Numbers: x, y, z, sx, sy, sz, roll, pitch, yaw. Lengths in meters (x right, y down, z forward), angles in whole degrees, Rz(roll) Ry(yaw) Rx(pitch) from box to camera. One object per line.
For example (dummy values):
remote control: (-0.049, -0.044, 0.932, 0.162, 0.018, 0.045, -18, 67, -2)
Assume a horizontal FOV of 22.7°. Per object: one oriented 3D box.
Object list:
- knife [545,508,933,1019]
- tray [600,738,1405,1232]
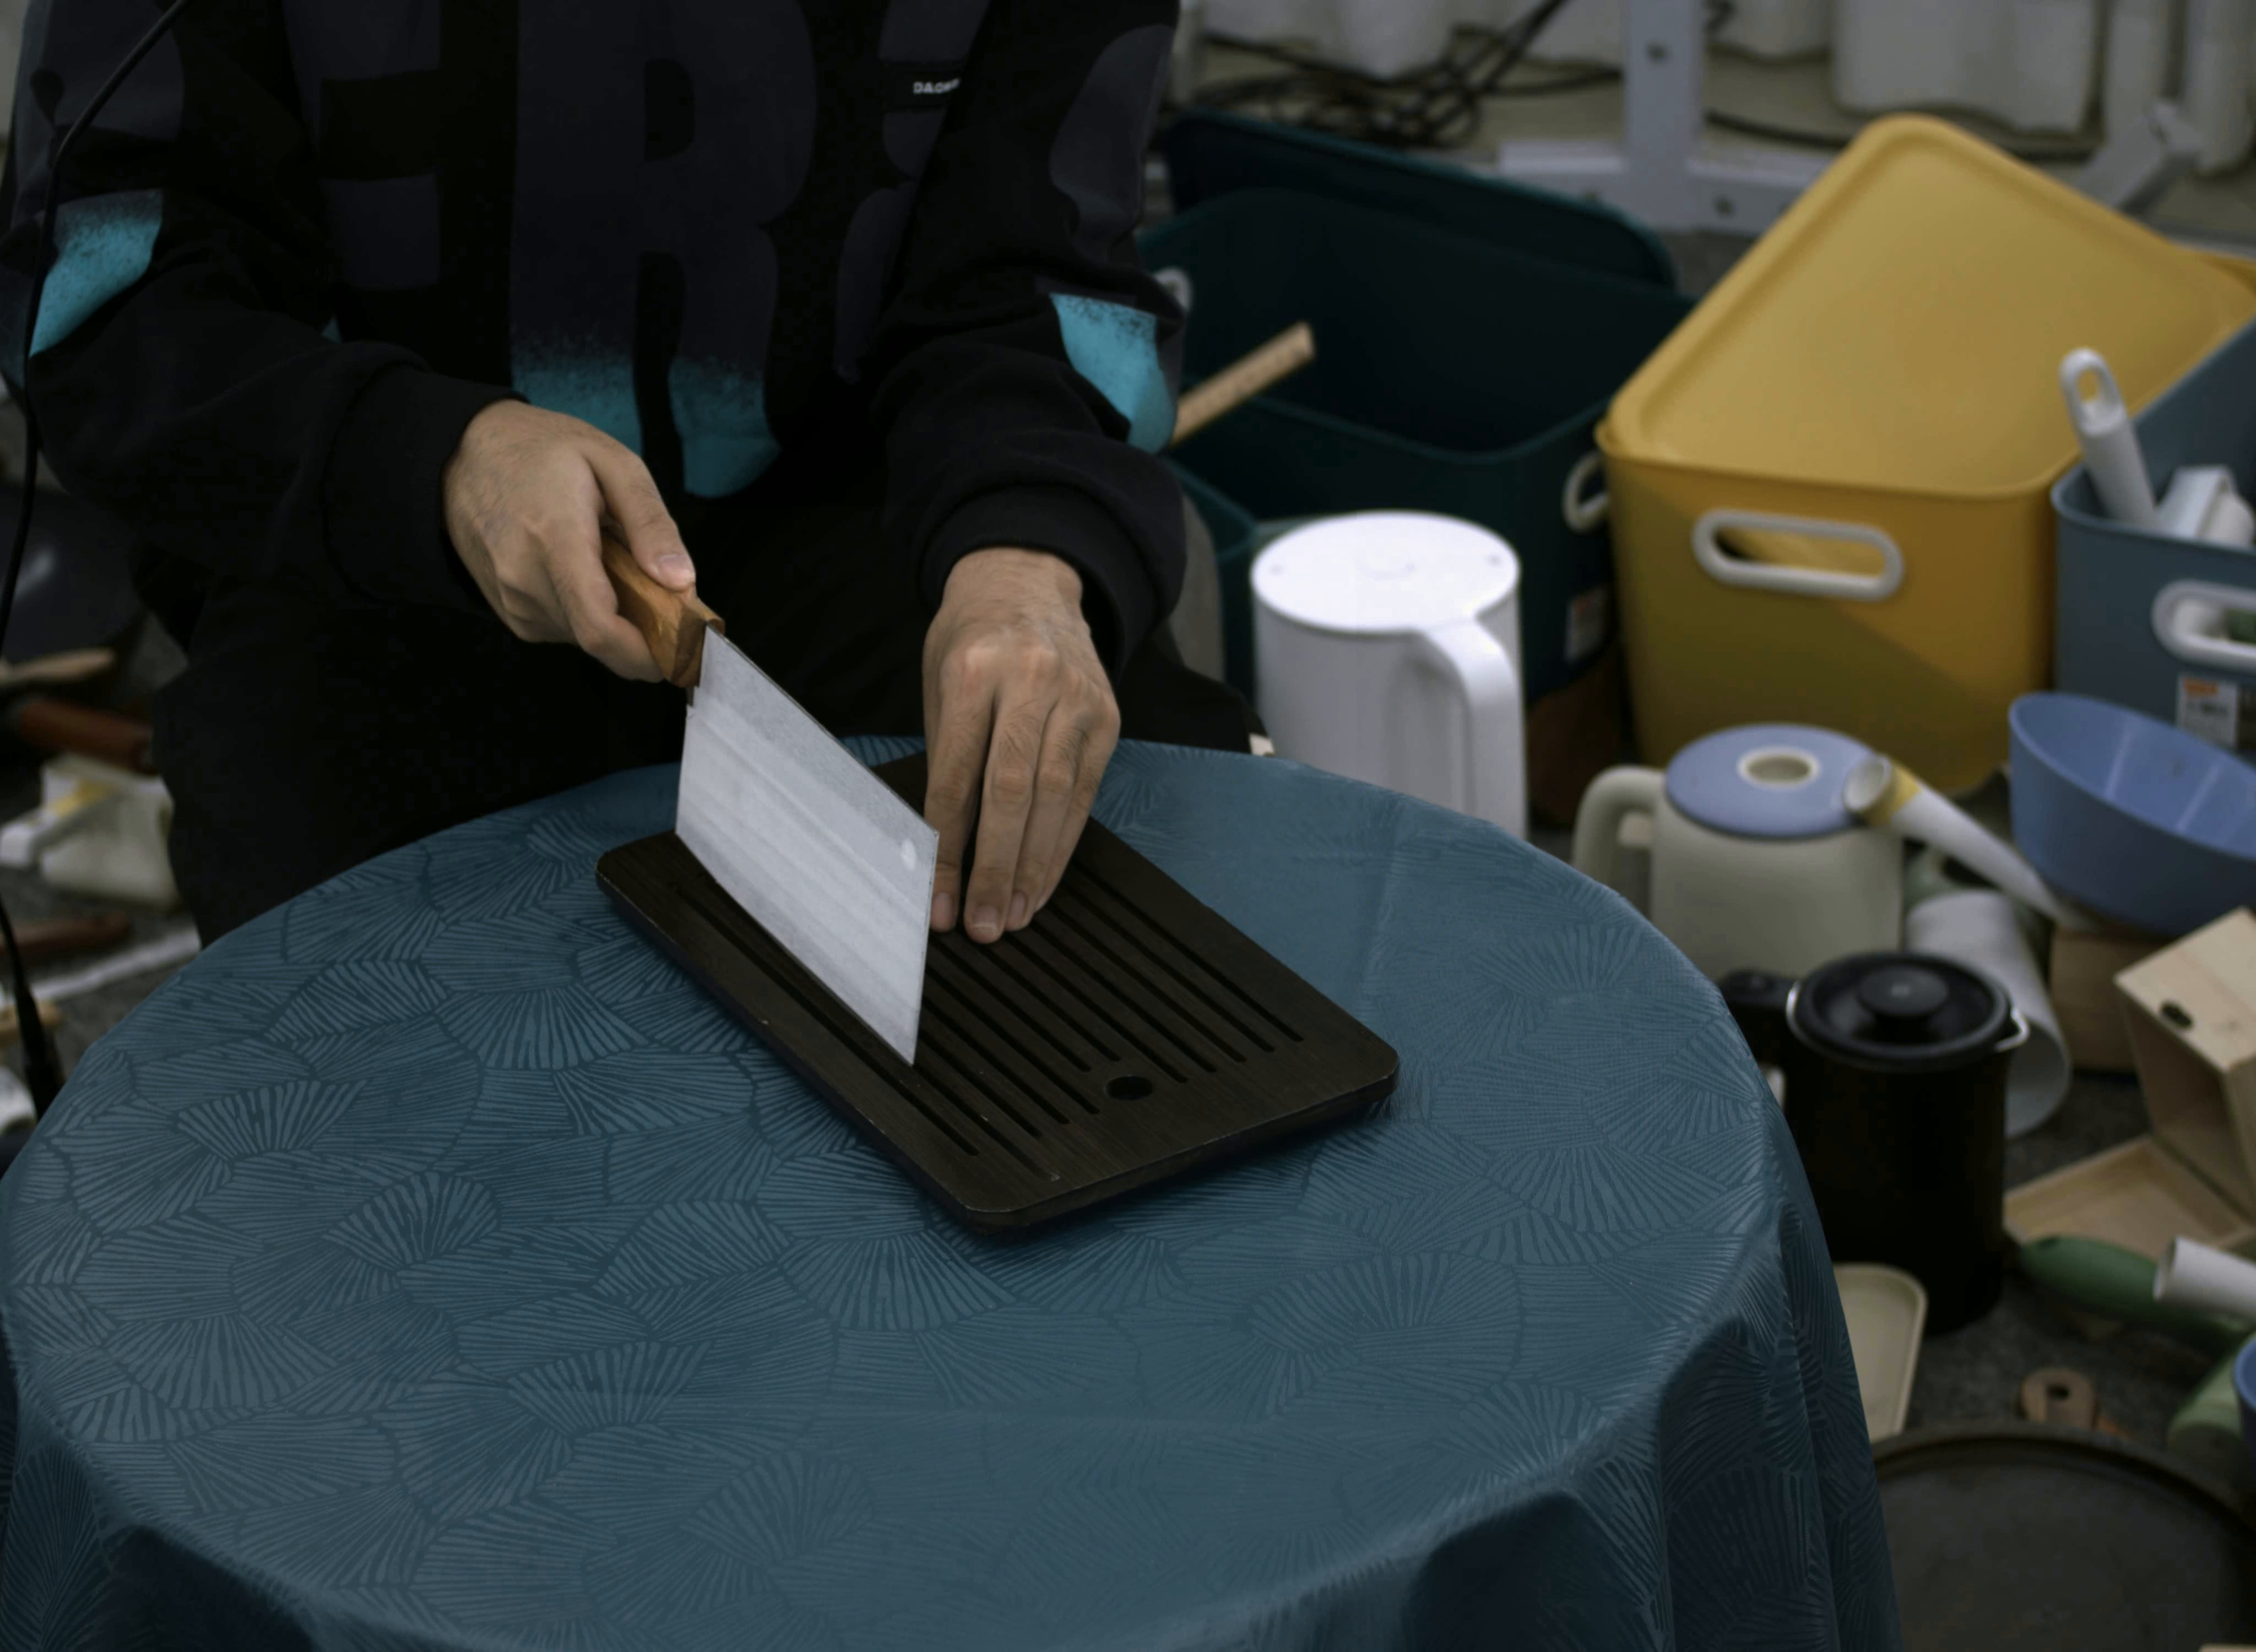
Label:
knife: (-0.140, -0.022, 1.998, 0.021, 0.092, 0.307, -8, 28, -28)
tray: (-0.049, 0.052, 1.980, 0.171, 0.018, 0.307, -17, 31, -25)
